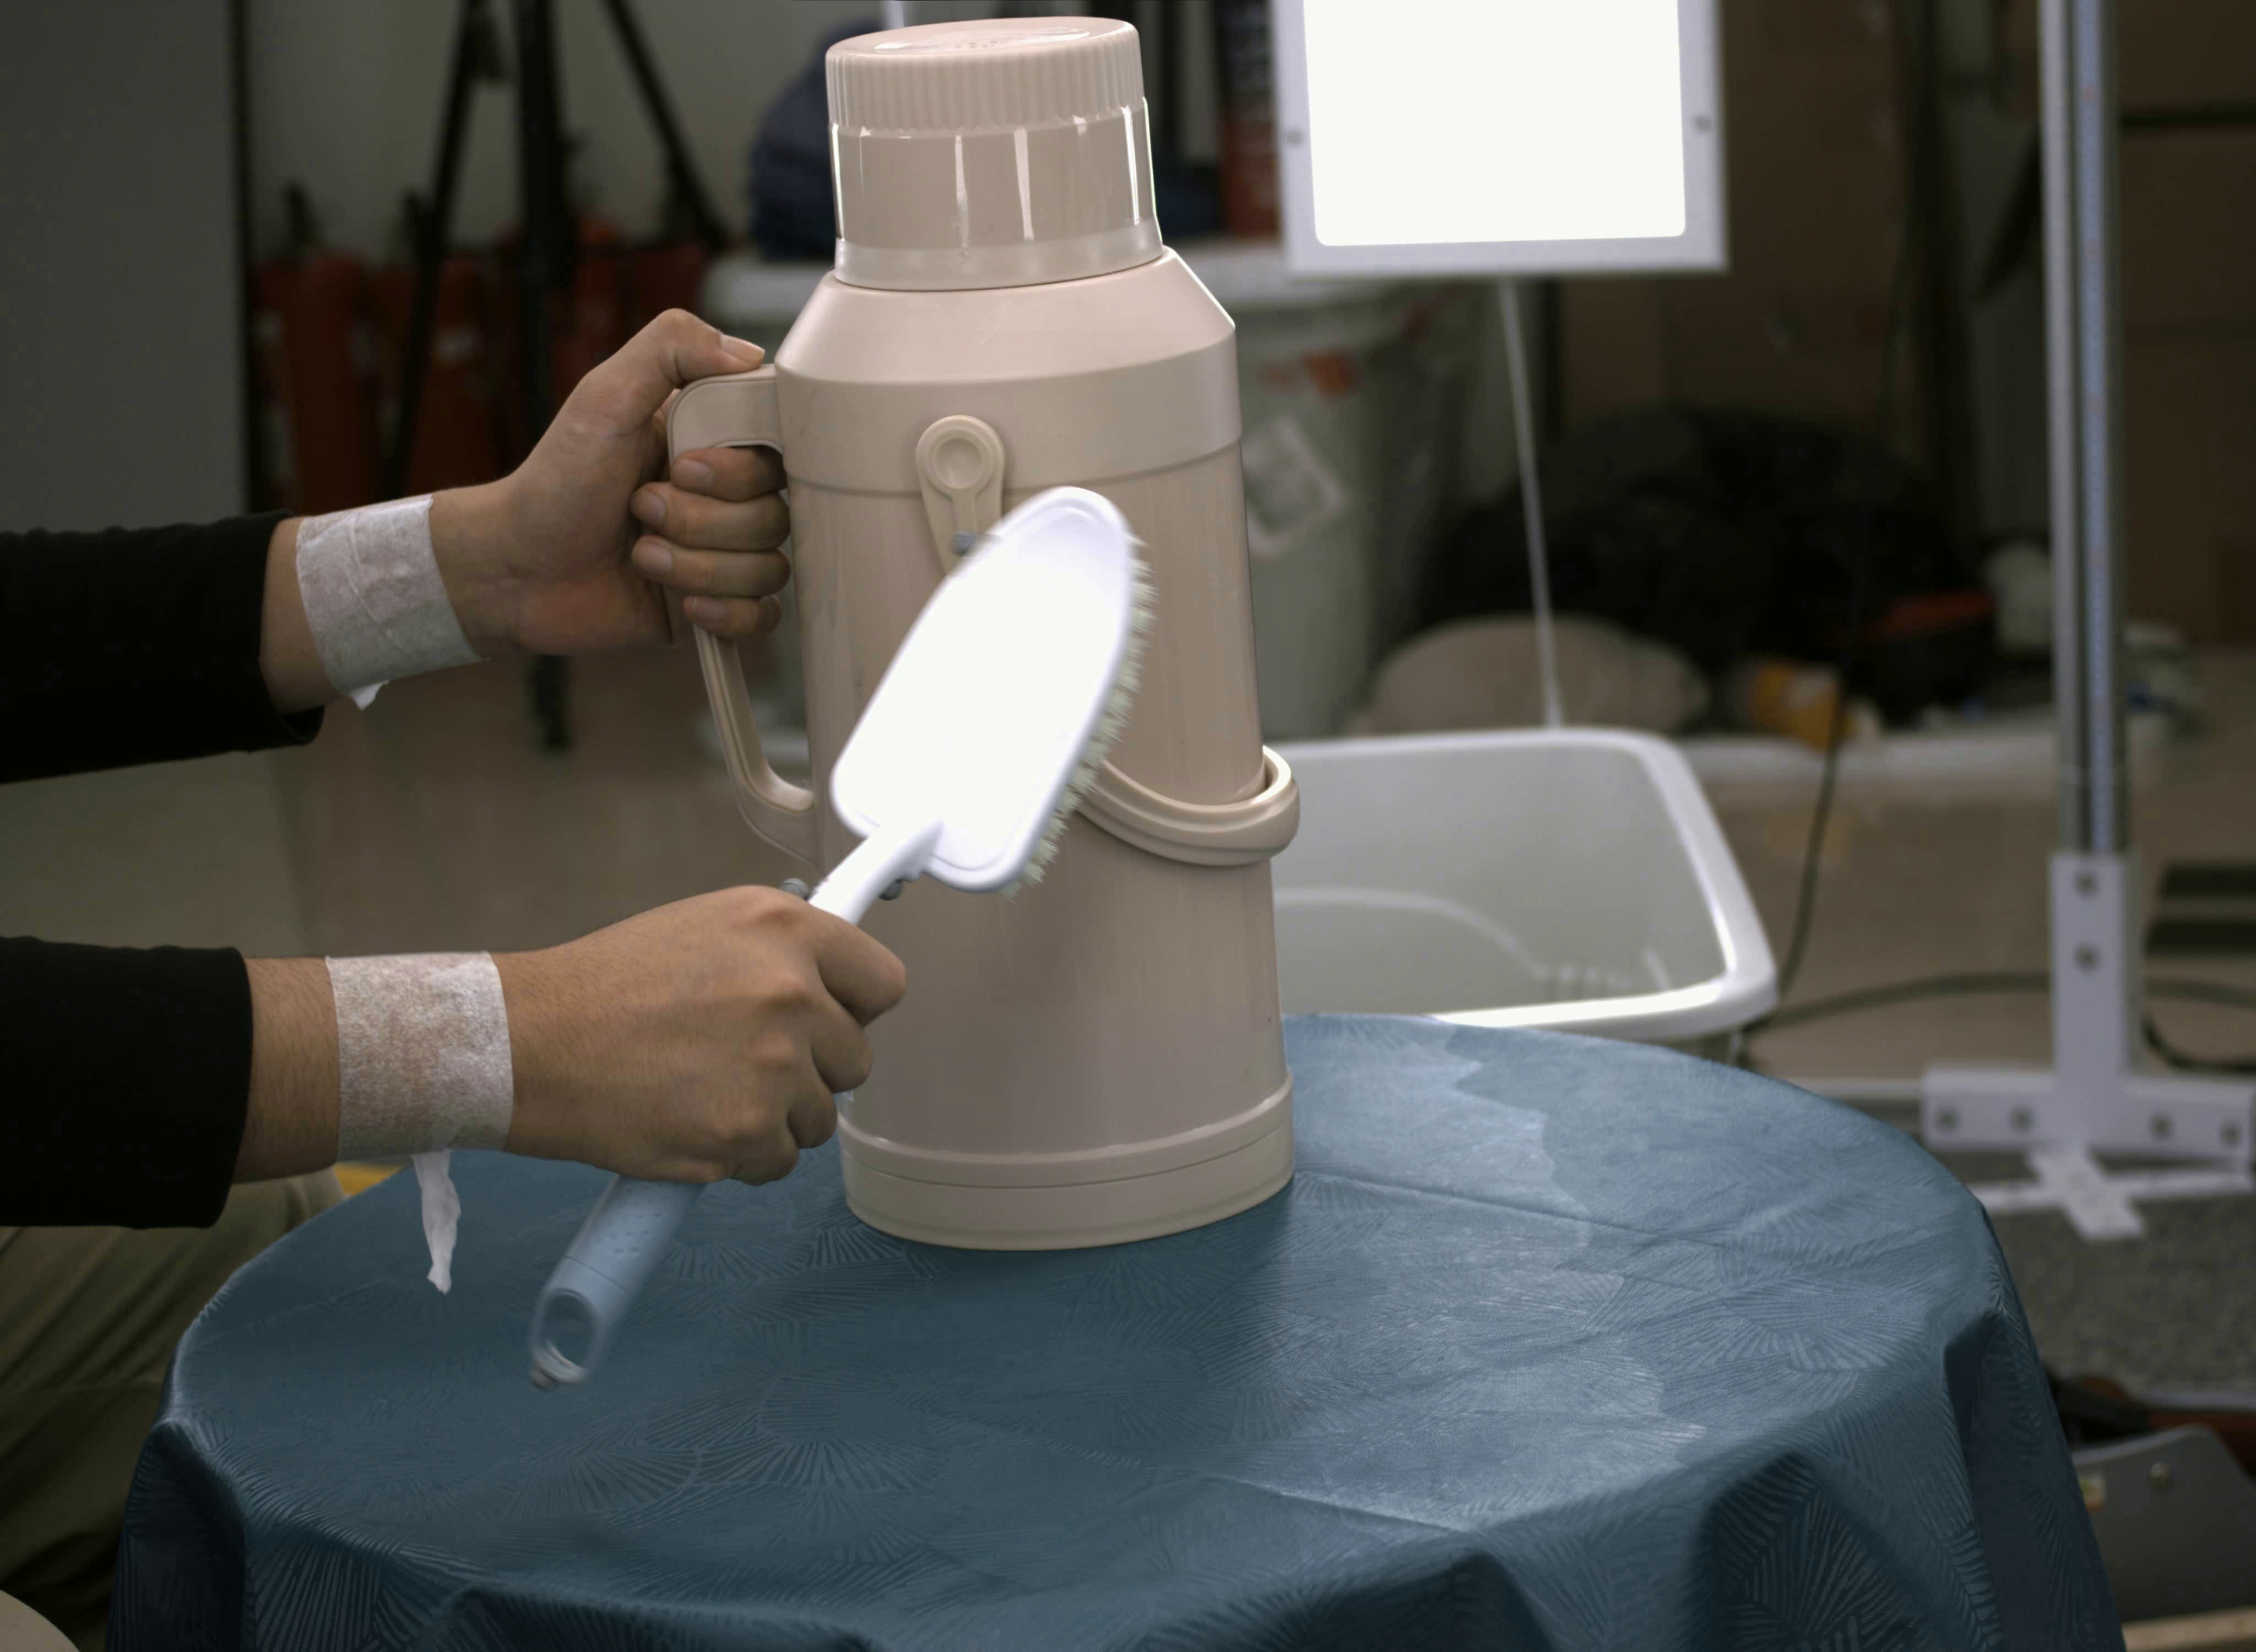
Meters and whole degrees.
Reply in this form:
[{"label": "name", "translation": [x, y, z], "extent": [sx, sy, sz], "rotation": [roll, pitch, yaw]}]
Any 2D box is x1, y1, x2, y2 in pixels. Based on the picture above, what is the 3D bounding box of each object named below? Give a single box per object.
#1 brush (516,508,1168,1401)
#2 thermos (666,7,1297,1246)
[{"label": "brush", "translation": [-0.087, 0.043, 1.693], "extent": [0.083, 0.323, 0.085], "rotation": [40, -13, -32]}, {"label": "thermos", "translation": [-0.049, -0.069, 1.878], "extent": [0.208, 0.408, 0.173], "rotation": [-1, 16, 11]}]
